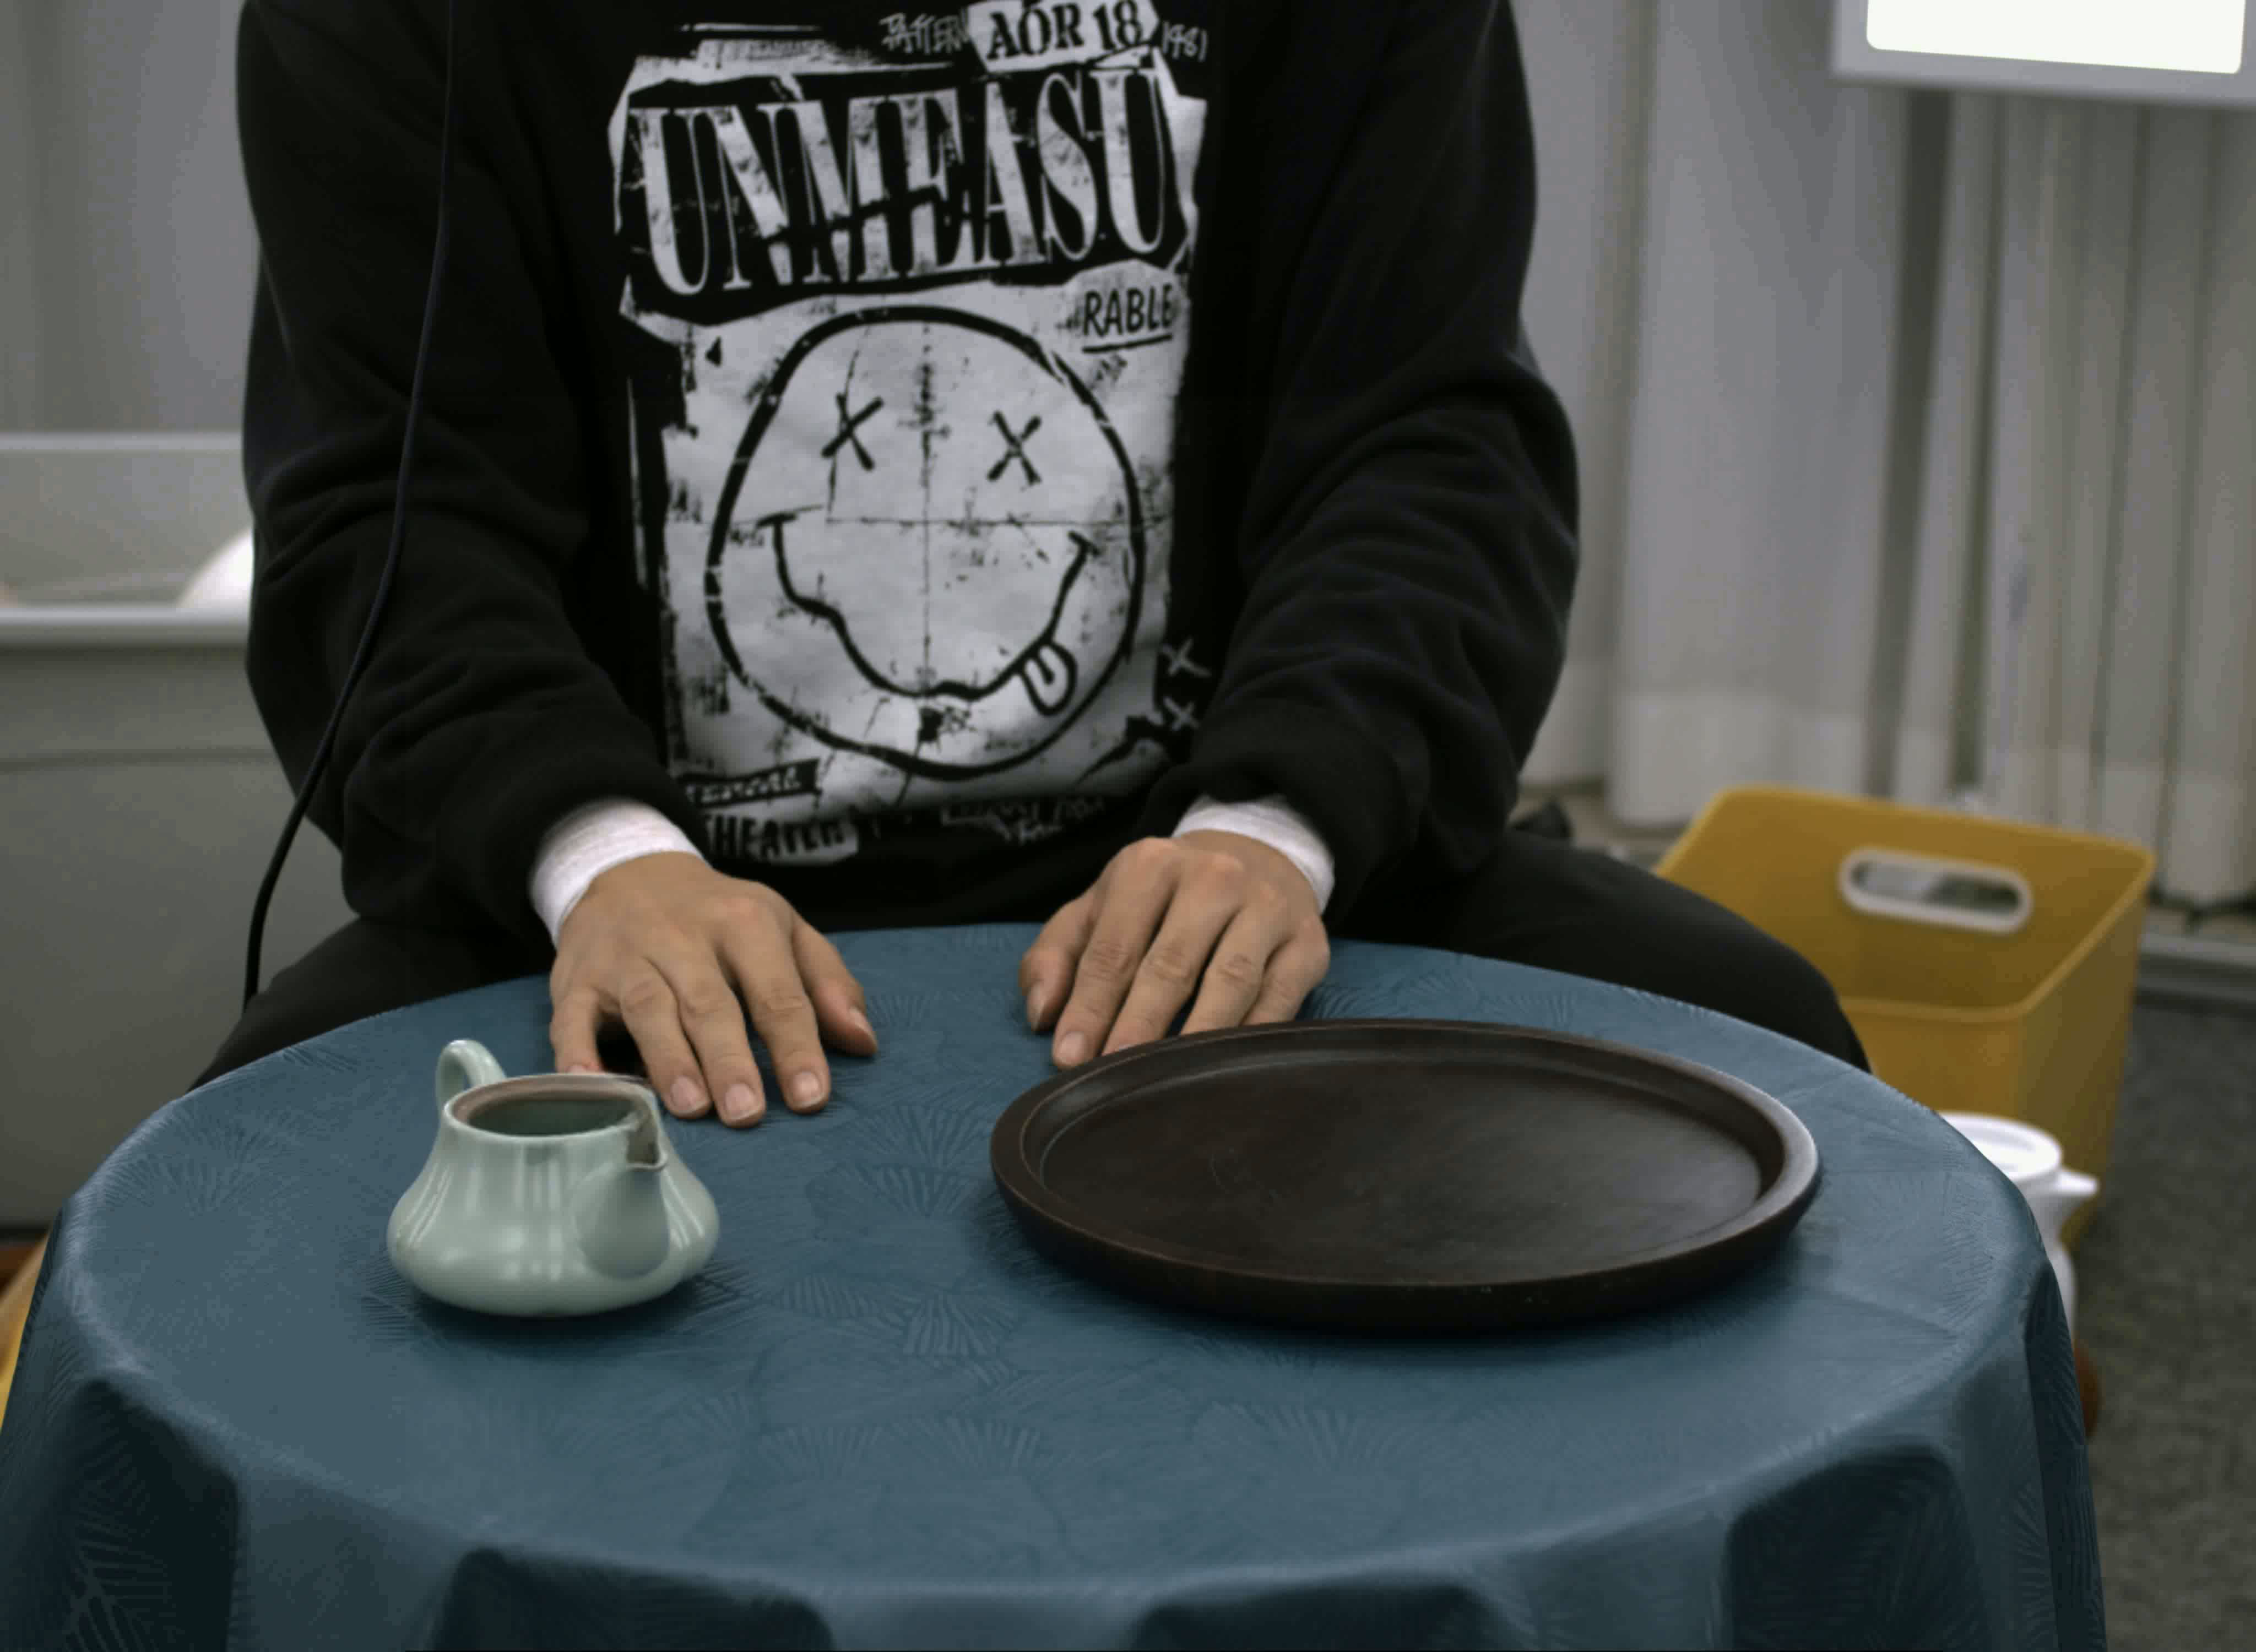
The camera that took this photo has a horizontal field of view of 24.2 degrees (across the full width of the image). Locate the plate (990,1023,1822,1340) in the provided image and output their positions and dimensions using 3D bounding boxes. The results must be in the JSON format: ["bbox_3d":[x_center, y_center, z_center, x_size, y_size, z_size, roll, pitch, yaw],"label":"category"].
[{"bbox_3d":[0.084,0.105,1.606,0.254,0.029,0.253,0,17,1],"label":"plate"}]

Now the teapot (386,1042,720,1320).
[{"bbox_3d":[-0.170,0.105,1.531,0.096,0.062,0.135,-12,20,-34],"label":"teapot"}]
